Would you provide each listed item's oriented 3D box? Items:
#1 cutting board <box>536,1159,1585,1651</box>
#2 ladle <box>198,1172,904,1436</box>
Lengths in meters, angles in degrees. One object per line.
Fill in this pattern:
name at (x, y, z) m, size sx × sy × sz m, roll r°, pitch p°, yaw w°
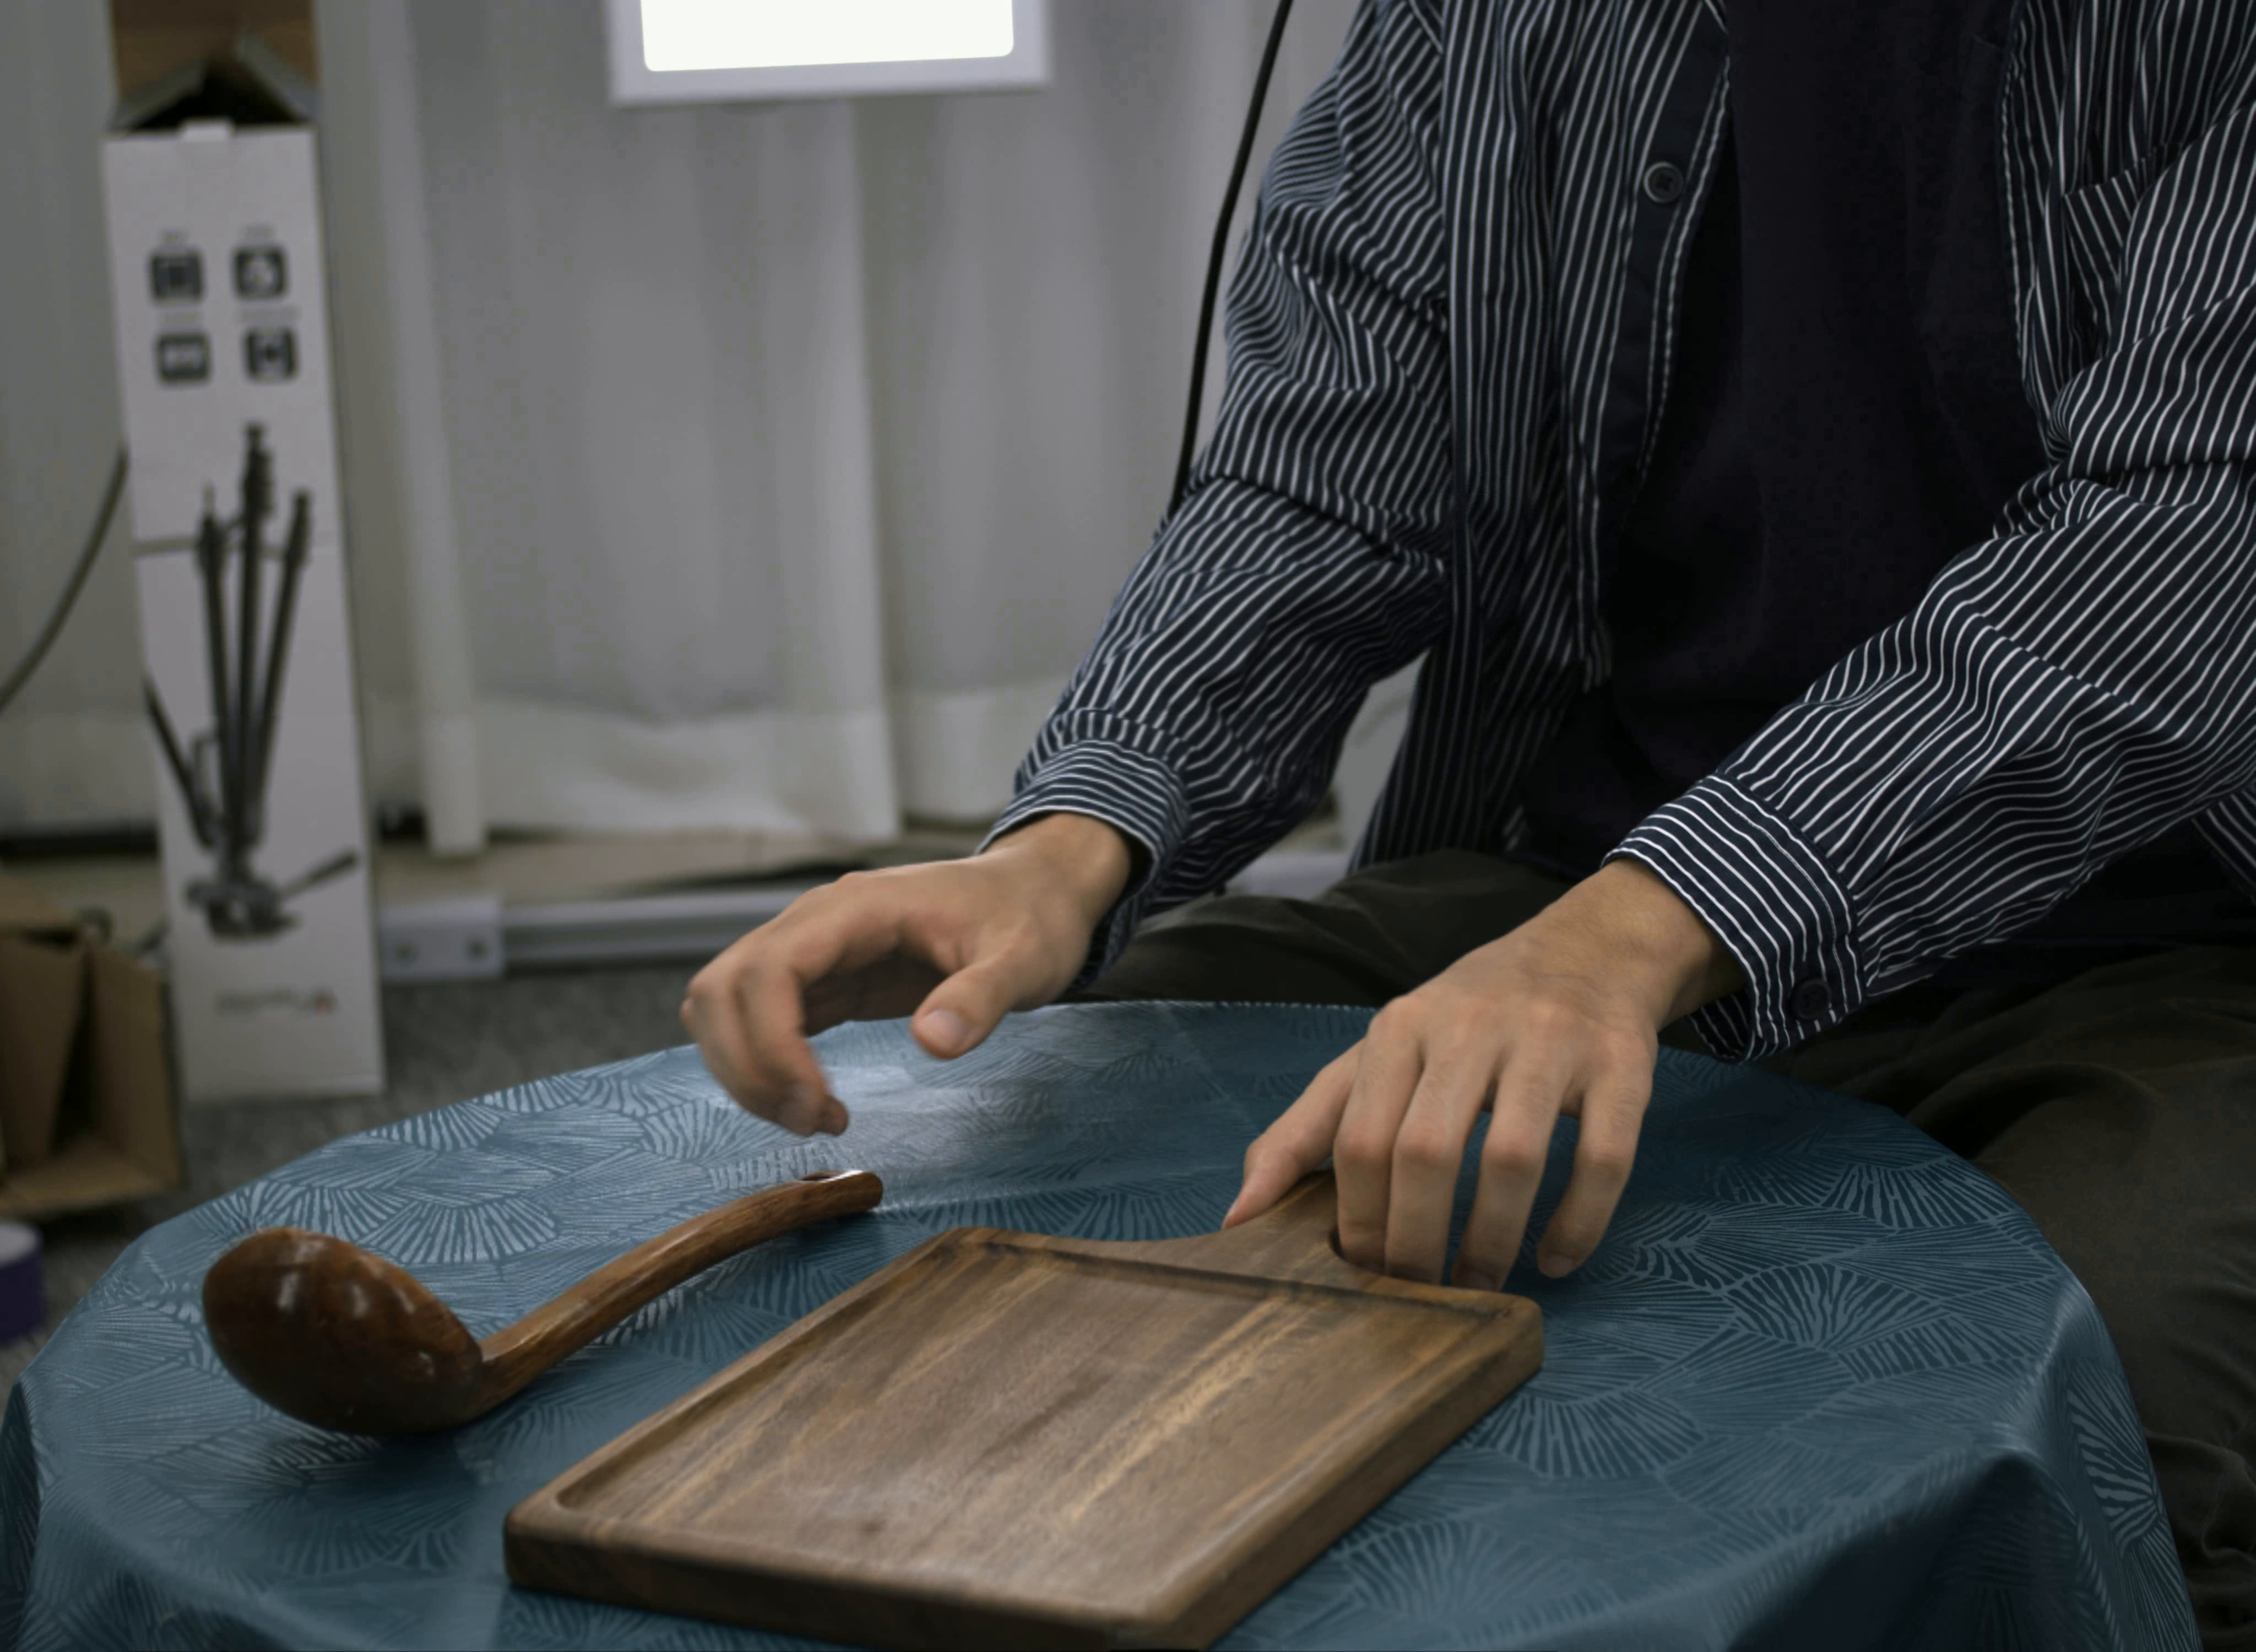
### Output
cutting board at (0.011, 0.155, 1.522) m, size 0.201 × 0.023 × 0.352 m, roll 5°, pitch 17°, yaw 28°
ladle at (-0.161, 0.115, 1.600) m, size 0.082 × 0.076 × 0.274 m, roll 2°, pitch 15°, yaw 35°
